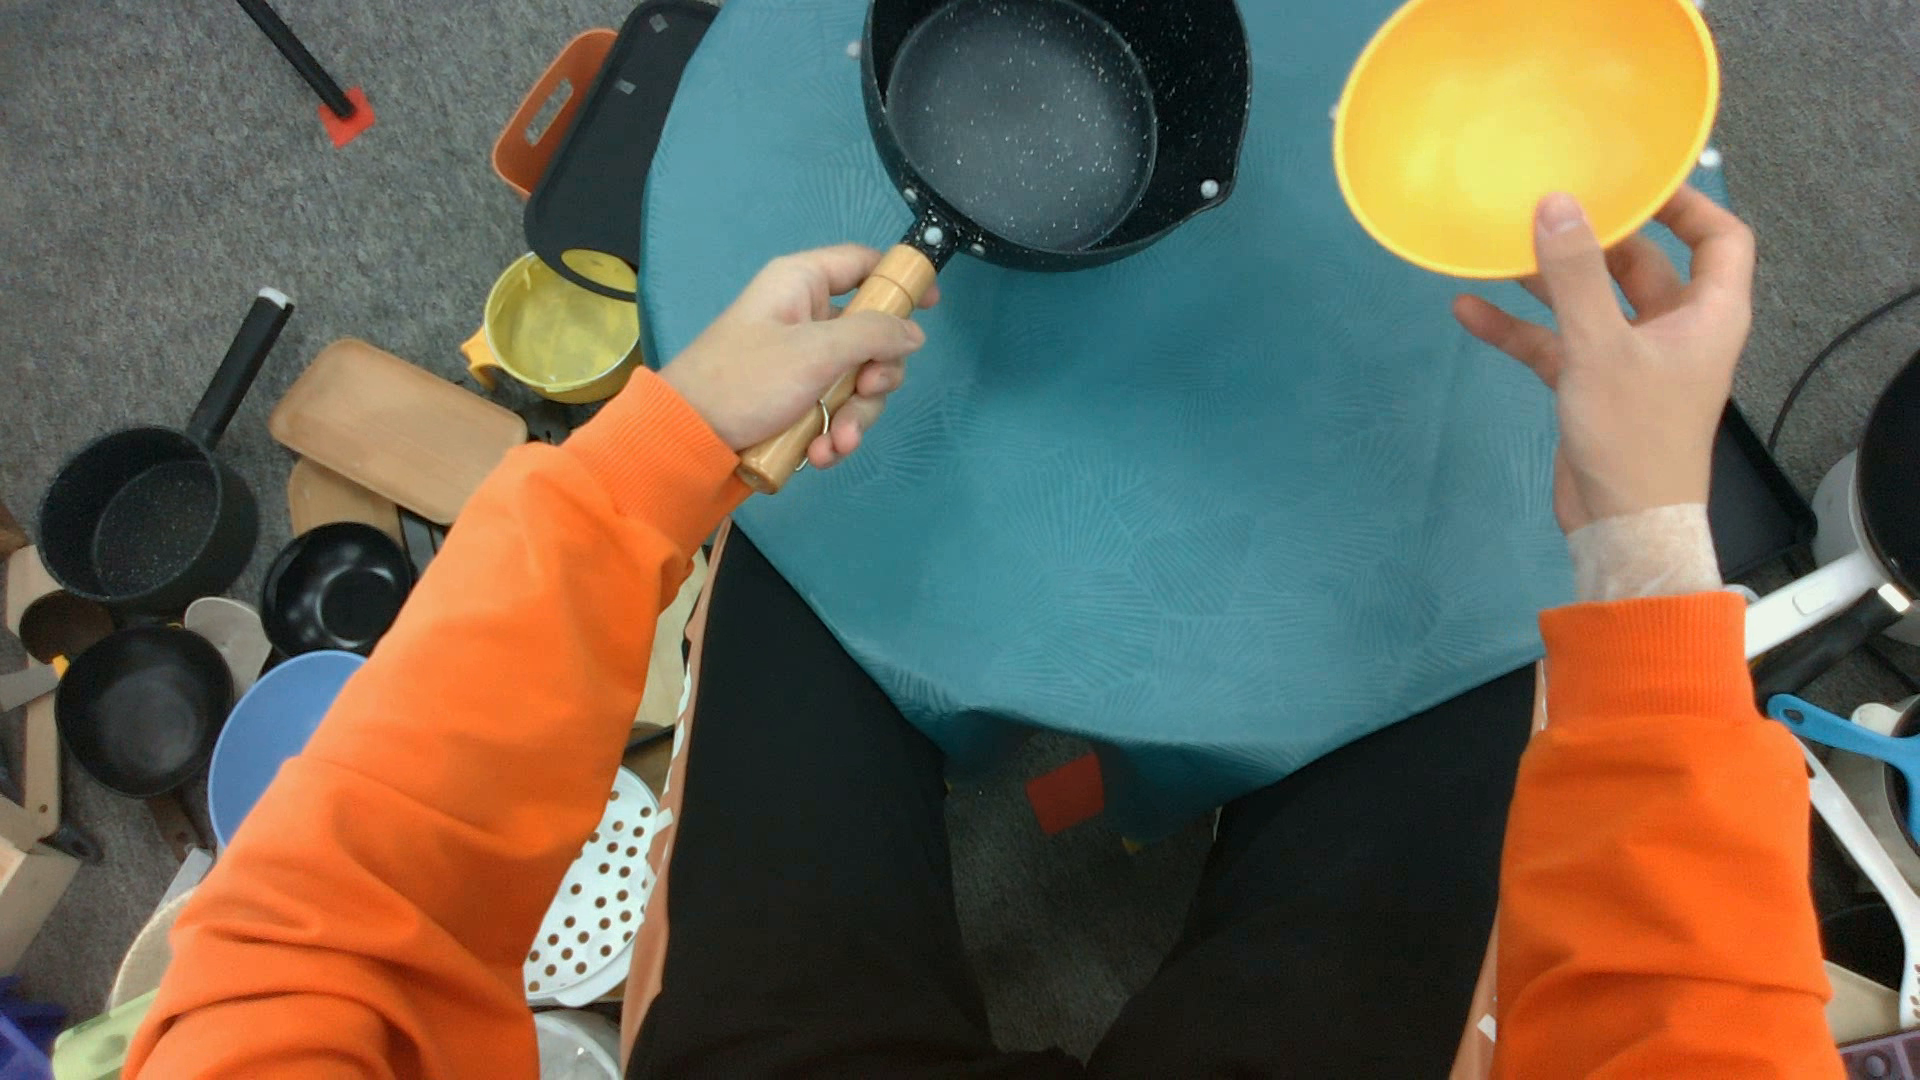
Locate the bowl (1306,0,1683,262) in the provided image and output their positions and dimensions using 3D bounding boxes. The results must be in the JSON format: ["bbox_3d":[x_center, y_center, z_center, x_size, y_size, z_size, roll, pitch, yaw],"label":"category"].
[{"bbox_3d":[0.225,-0.178,0.578,0.145,0.060,0.145,-6,78,31],"label":"bowl"}]

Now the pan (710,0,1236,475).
[{"bbox_3d":[-0.009,-0.164,0.649,0.207,0.108,0.343,36,78,-10],"label":"pan"}]
